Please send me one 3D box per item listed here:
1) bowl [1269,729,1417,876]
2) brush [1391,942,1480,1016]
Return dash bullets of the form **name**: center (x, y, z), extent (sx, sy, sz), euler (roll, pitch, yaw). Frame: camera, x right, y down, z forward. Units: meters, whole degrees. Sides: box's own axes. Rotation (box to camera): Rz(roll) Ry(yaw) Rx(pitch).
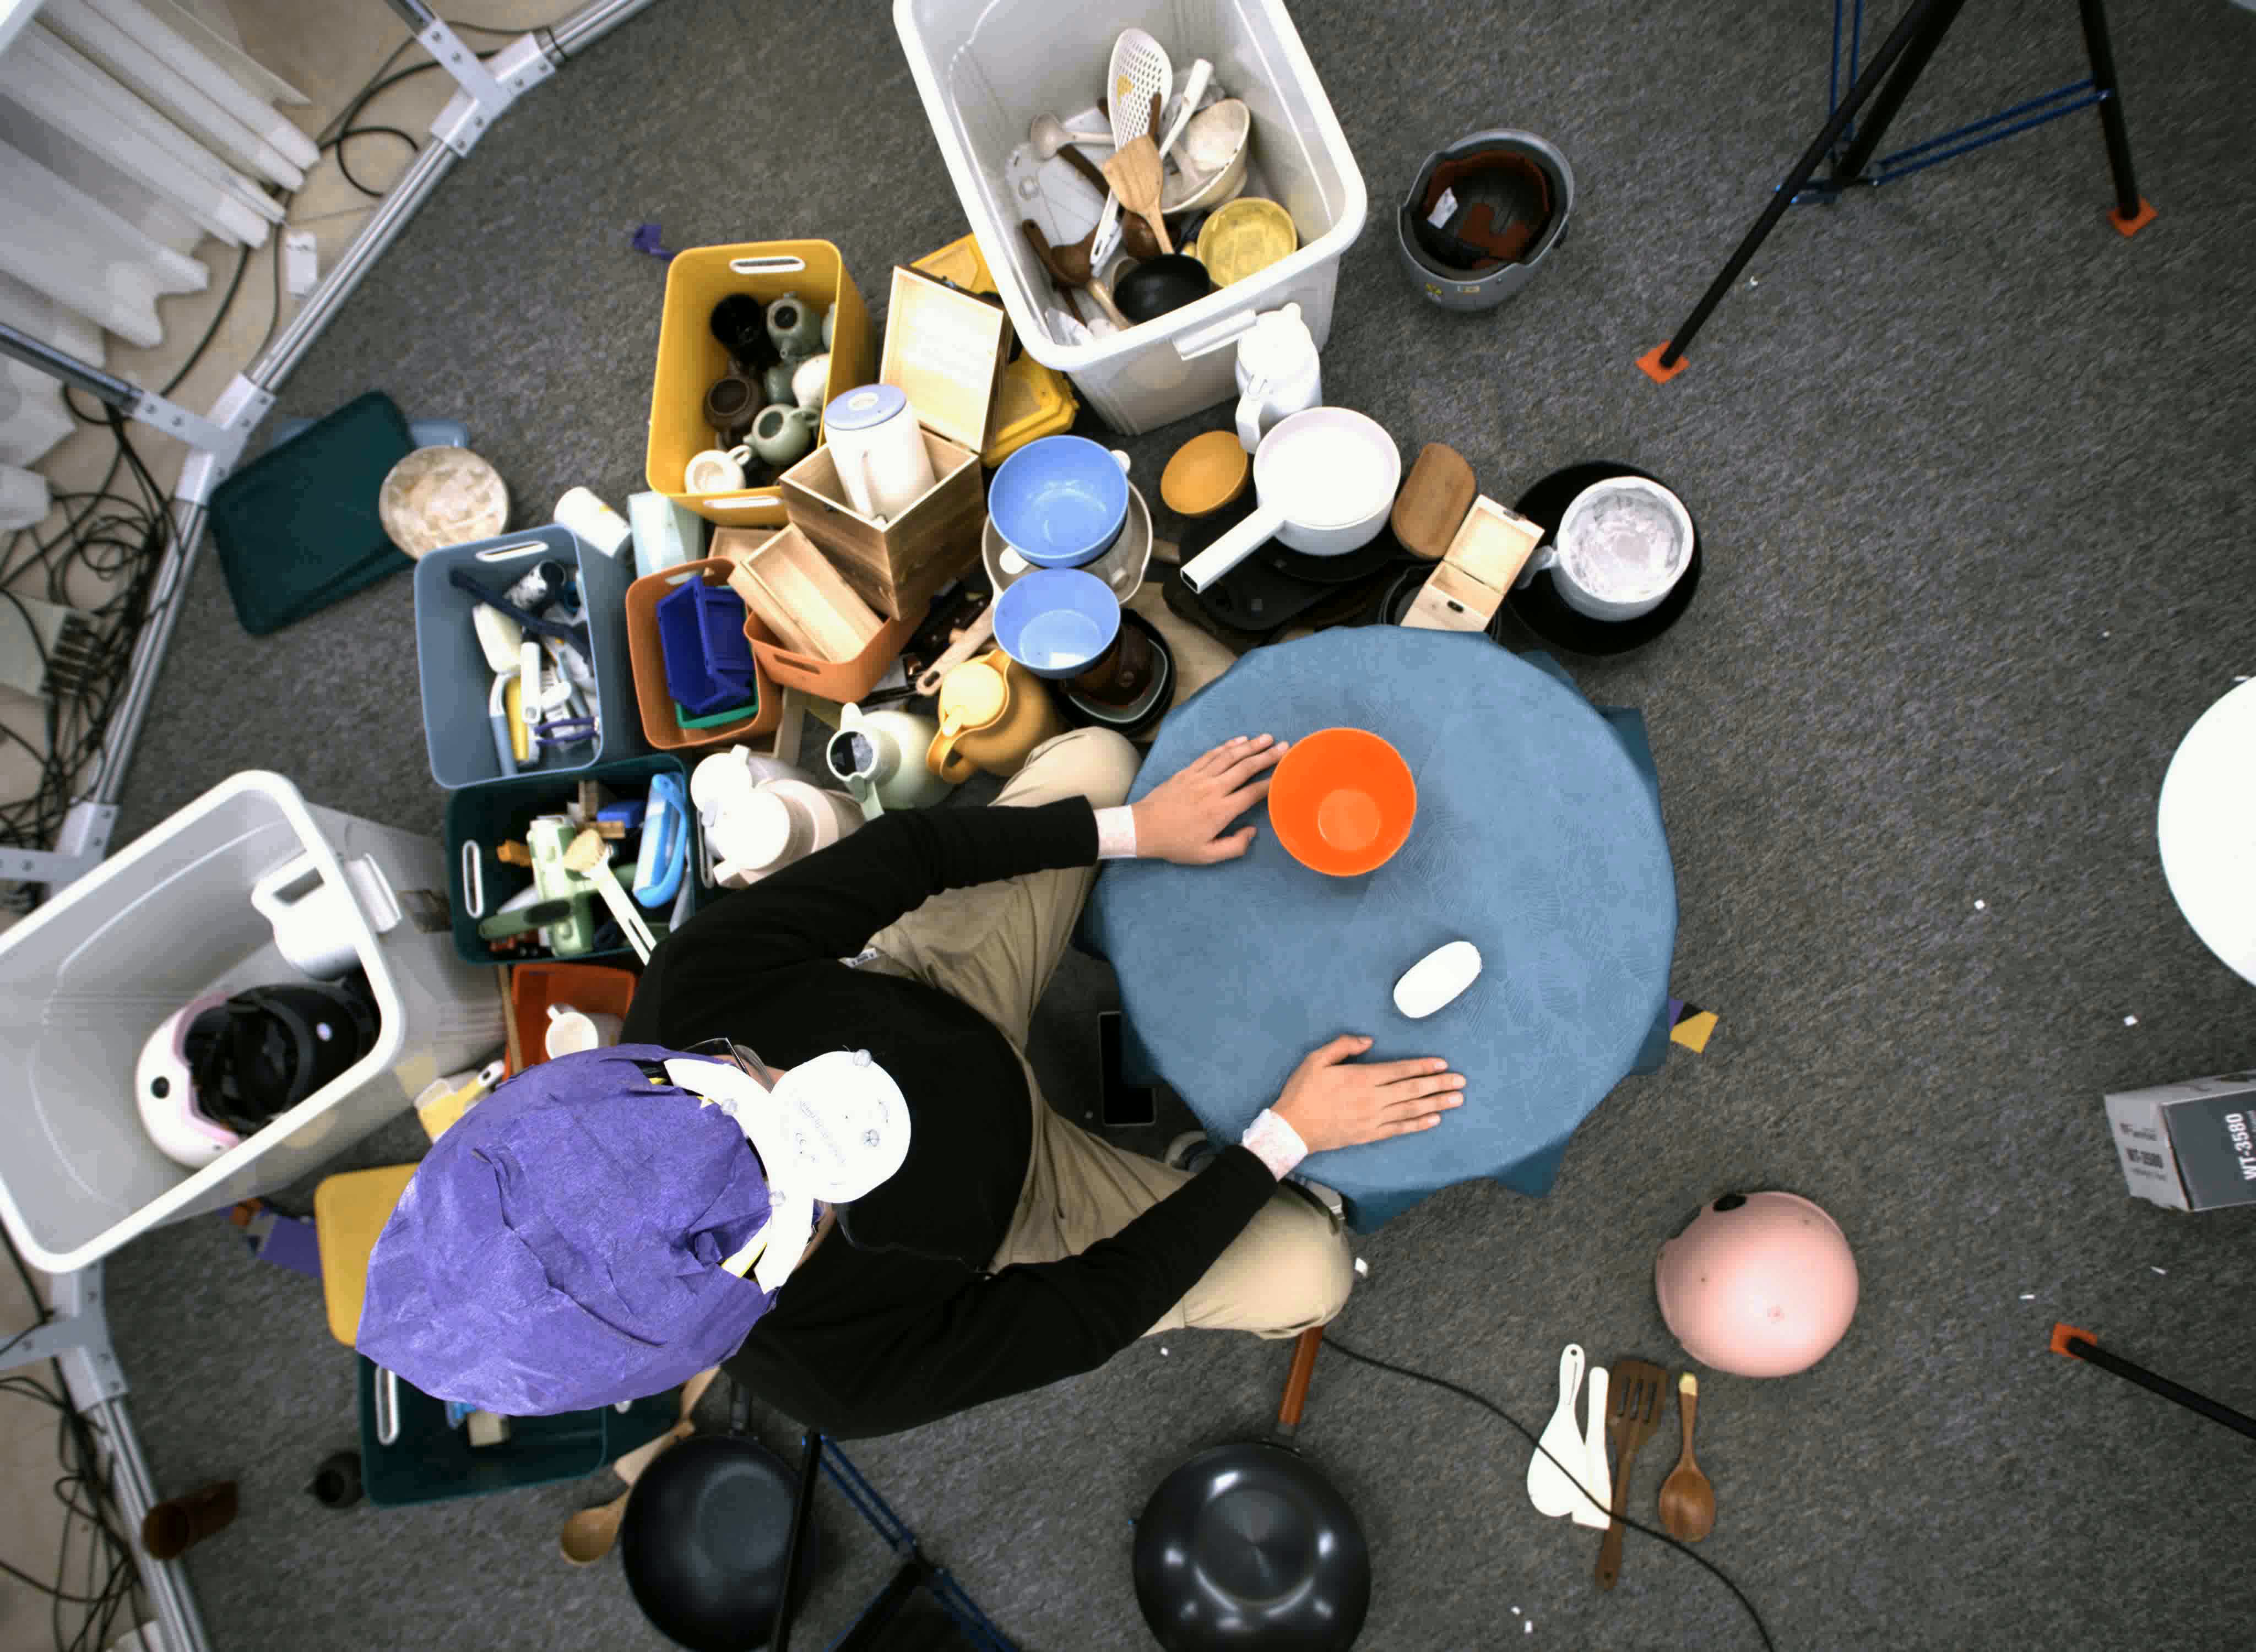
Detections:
- **bowl**: center (0.224, -0.022, 1.425), extent (0.148, 0.104, 0.147), euler (-1, 87, 11)
- **brush**: center (0.315, 0.156, 1.410), extent (0.100, 0.072, 0.050), euler (-35, 81, 6)
